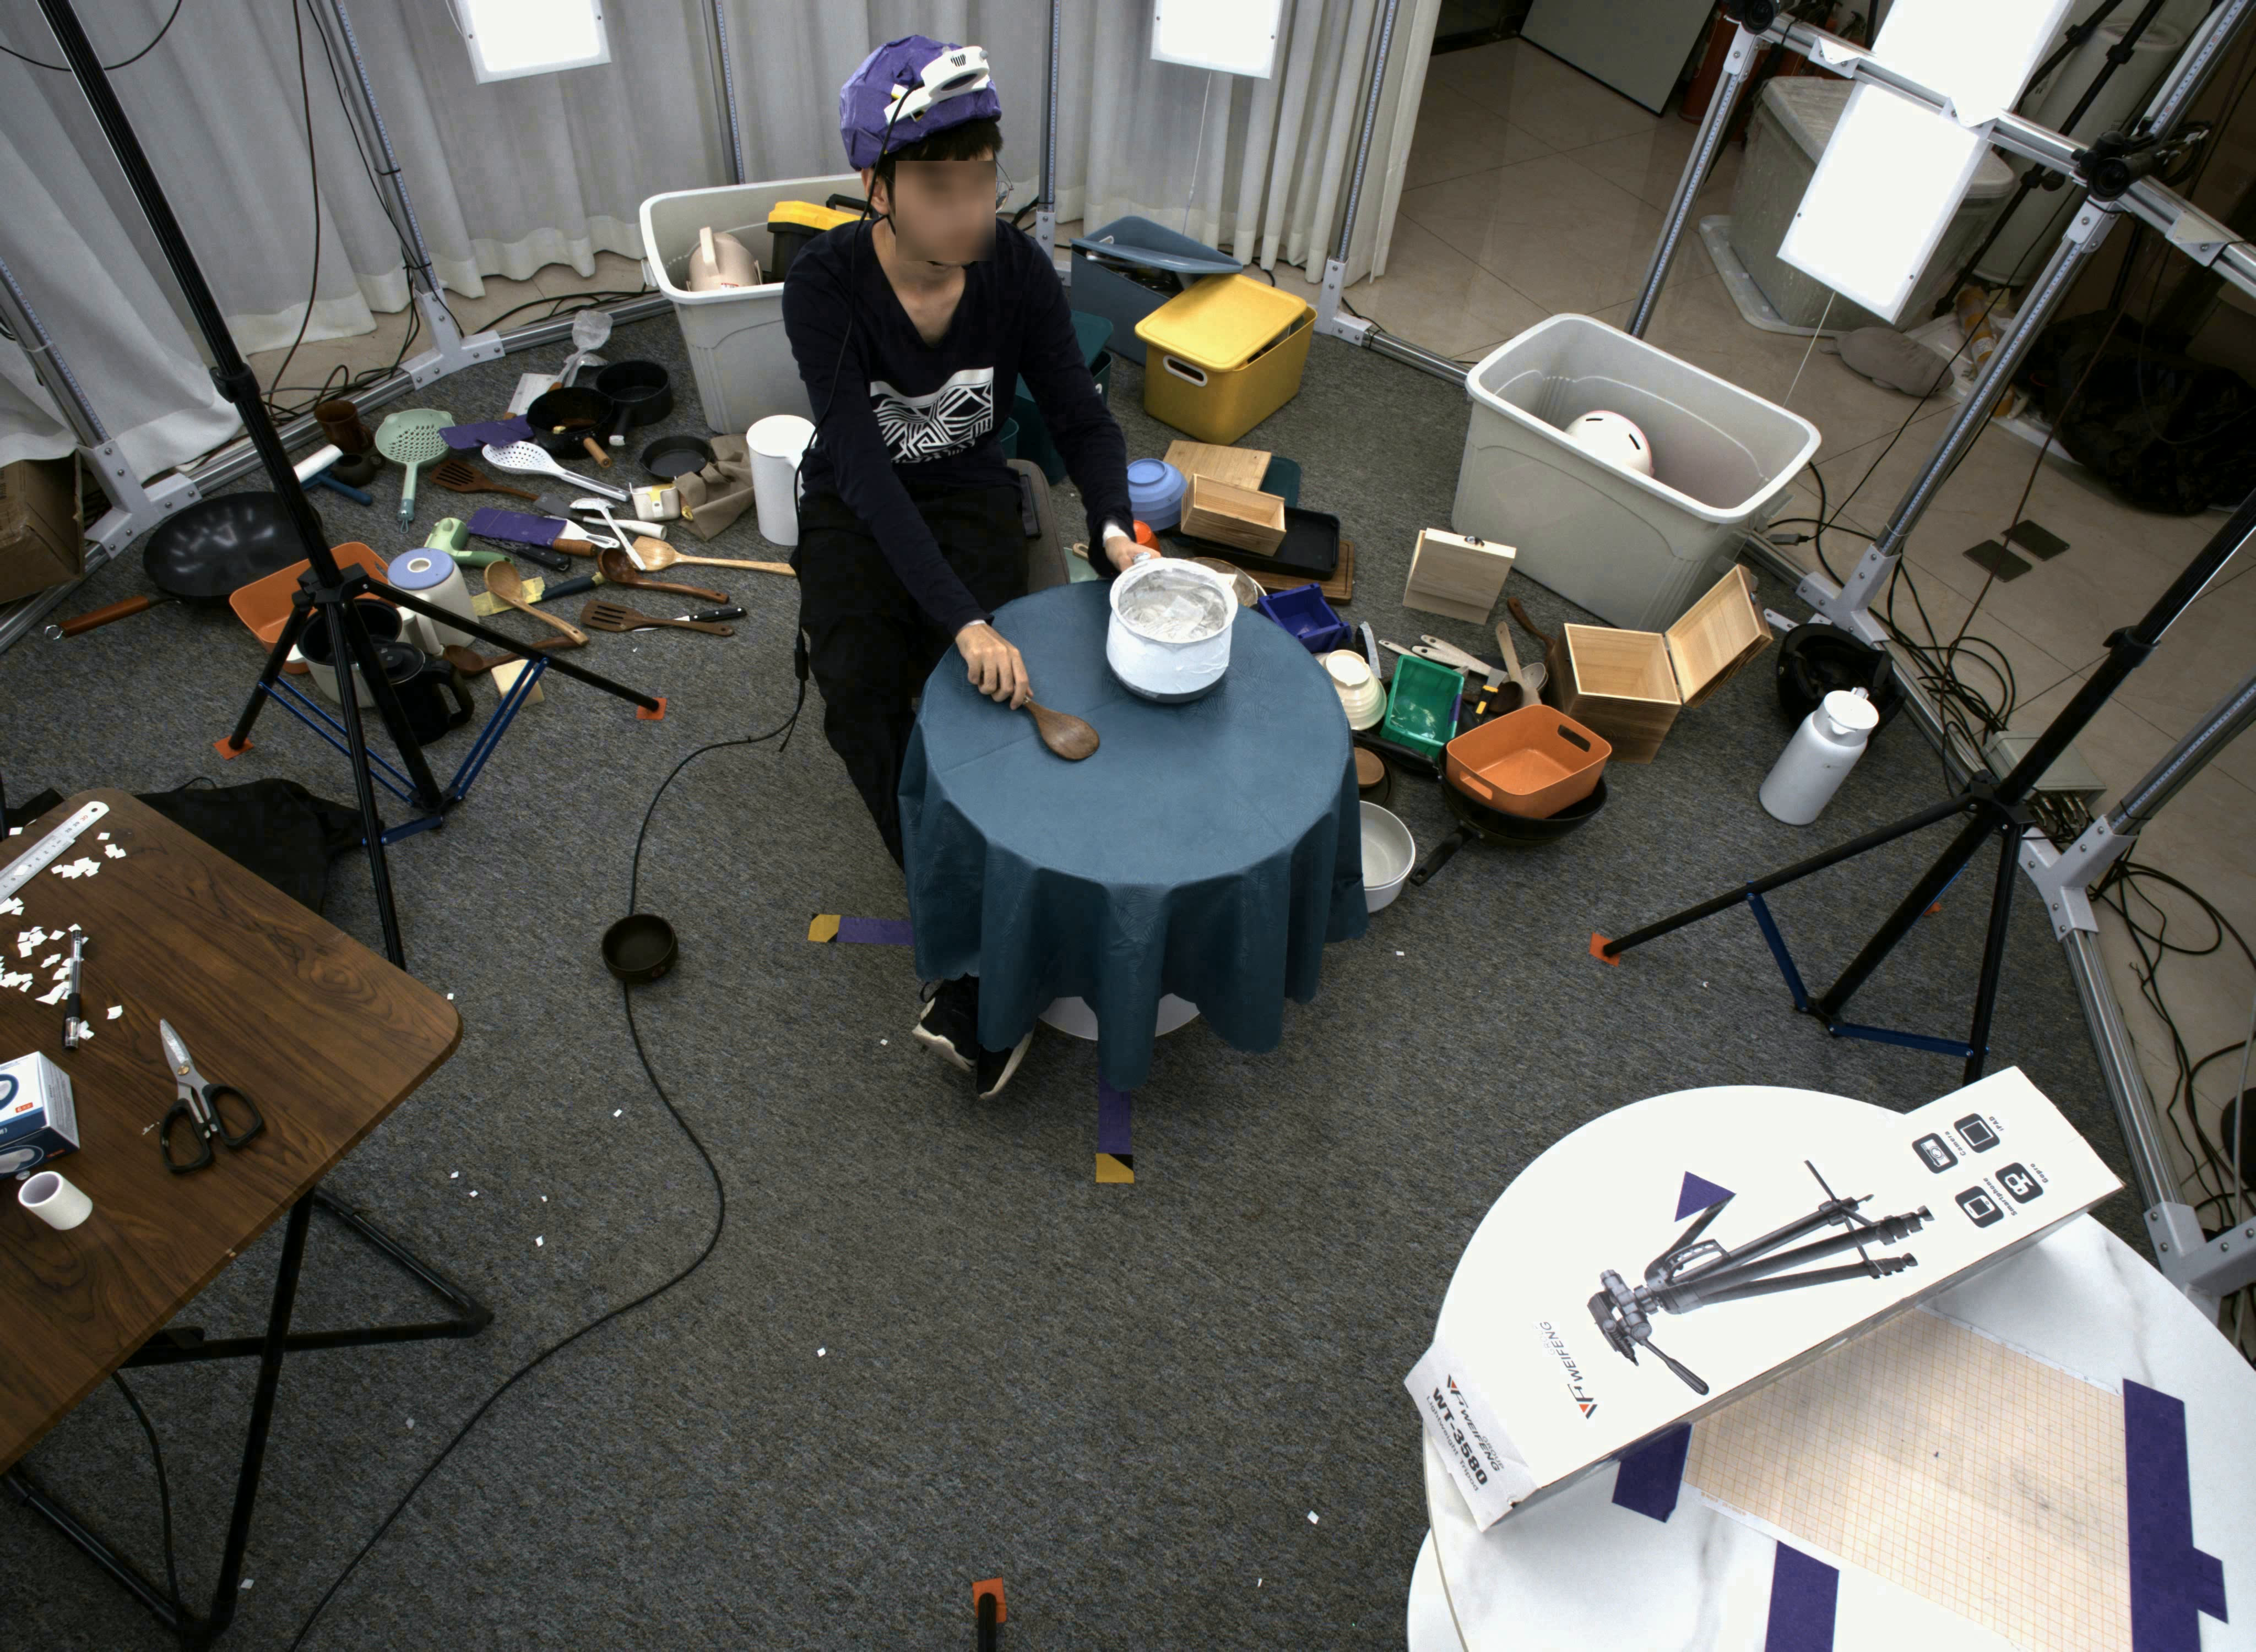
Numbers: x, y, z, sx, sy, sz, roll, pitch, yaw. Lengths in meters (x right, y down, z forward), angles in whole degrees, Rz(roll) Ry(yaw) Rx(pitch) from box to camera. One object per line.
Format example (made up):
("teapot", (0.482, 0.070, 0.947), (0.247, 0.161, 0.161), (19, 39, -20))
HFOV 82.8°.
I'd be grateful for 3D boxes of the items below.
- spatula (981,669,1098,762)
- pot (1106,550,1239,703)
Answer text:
("spatula", (-0.127, -0.161, 1.788), (0.219, 0.009, 0.072), (40, 52, 24))
("pot", (0.048, -0.294, 1.835), (0.179, 0.133, 0.239), (-15, 53, -20))
